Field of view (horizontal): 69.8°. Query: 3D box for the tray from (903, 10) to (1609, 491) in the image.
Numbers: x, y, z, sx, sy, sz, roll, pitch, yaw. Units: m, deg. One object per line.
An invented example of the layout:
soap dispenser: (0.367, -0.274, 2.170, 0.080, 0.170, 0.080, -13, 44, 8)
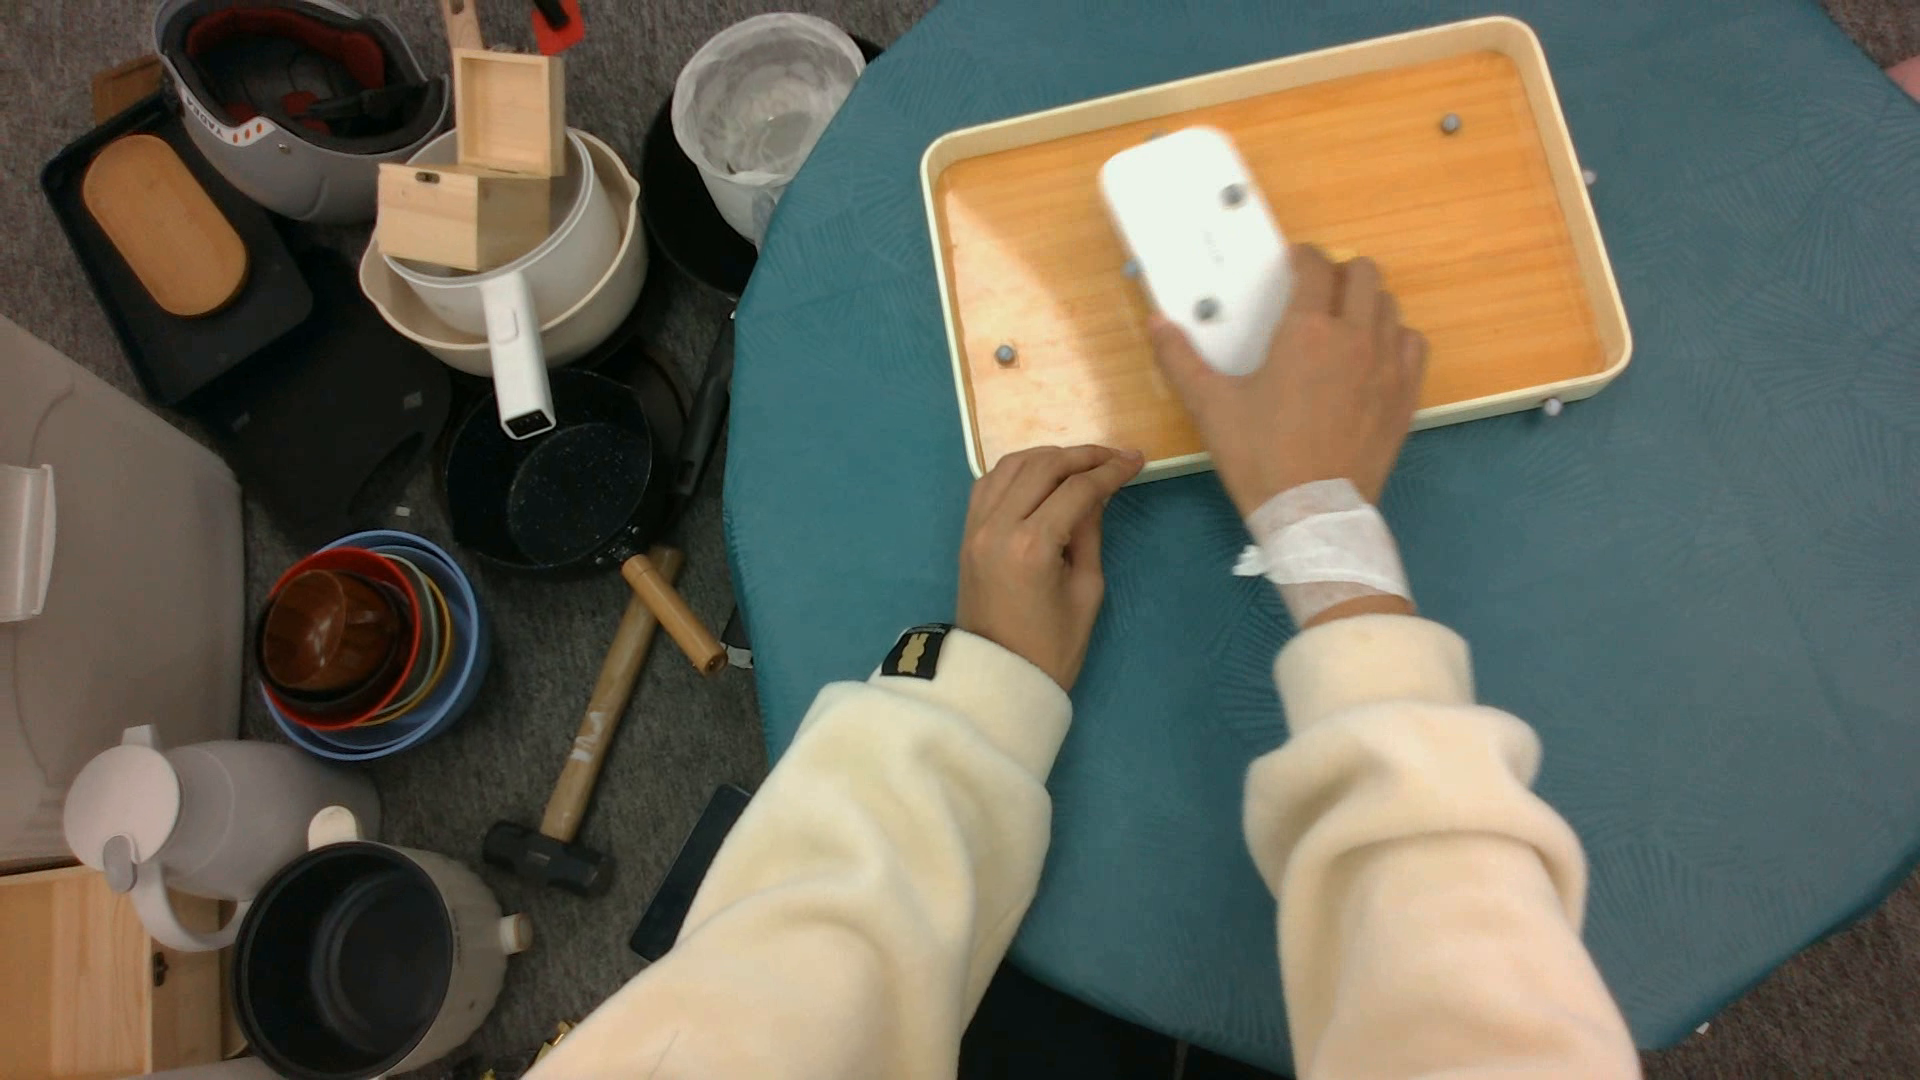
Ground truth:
tray: (0.132, -0.139, 0.657, 0.300, 0.027, 0.192, -11, 74, 3)

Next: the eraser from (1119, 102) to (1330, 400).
eraser: (0.114, -0.127, 0.607, 0.063, 0.034, 0.131, -16, 80, -4)
